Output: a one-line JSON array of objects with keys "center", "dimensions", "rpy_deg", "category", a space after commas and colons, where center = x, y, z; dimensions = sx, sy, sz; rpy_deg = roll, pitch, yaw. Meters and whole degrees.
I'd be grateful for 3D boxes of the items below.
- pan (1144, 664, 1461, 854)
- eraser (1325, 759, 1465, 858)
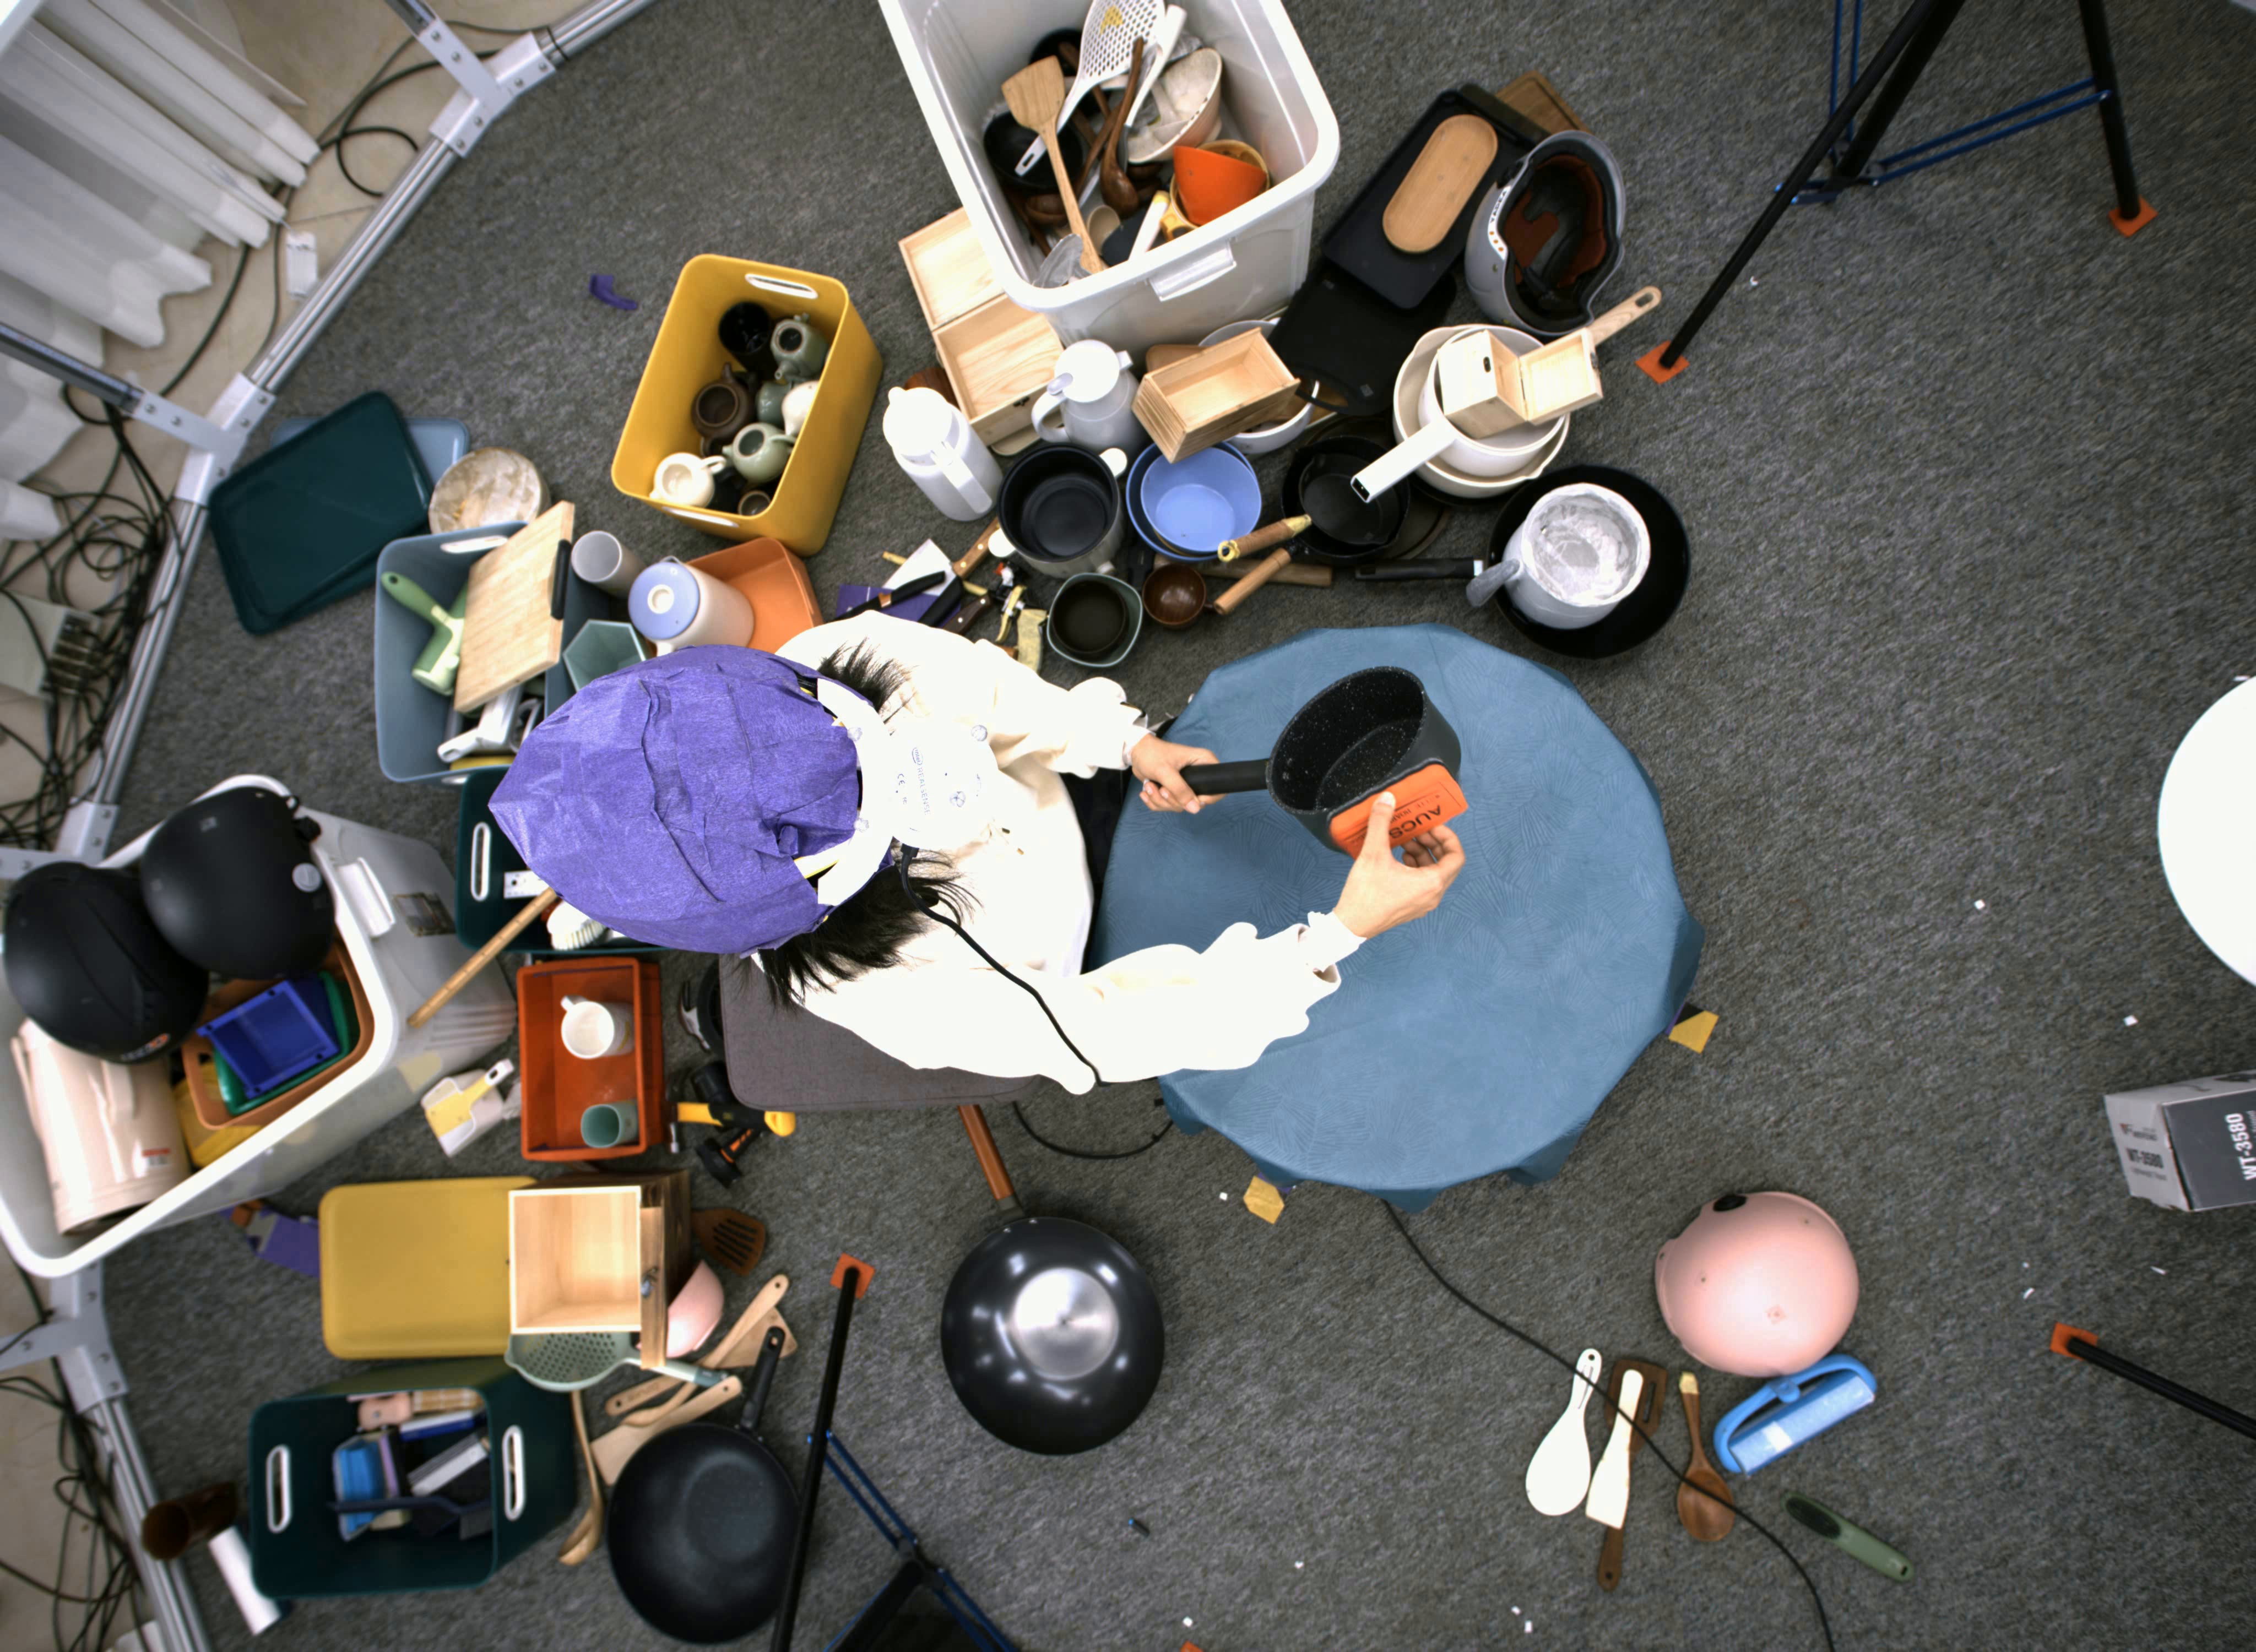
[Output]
[{"center": [0.161, -0.052, 1.332], "dimensions": [0.332, 0.087, 0.168], "rpy_deg": [-8, 50, 43], "category": "pan"}, {"center": [0.224, -0.015, 1.155], "dimensions": [0.109, 0.059, 0.022], "rpy_deg": [-29, 50, 23], "category": "eraser"}]
